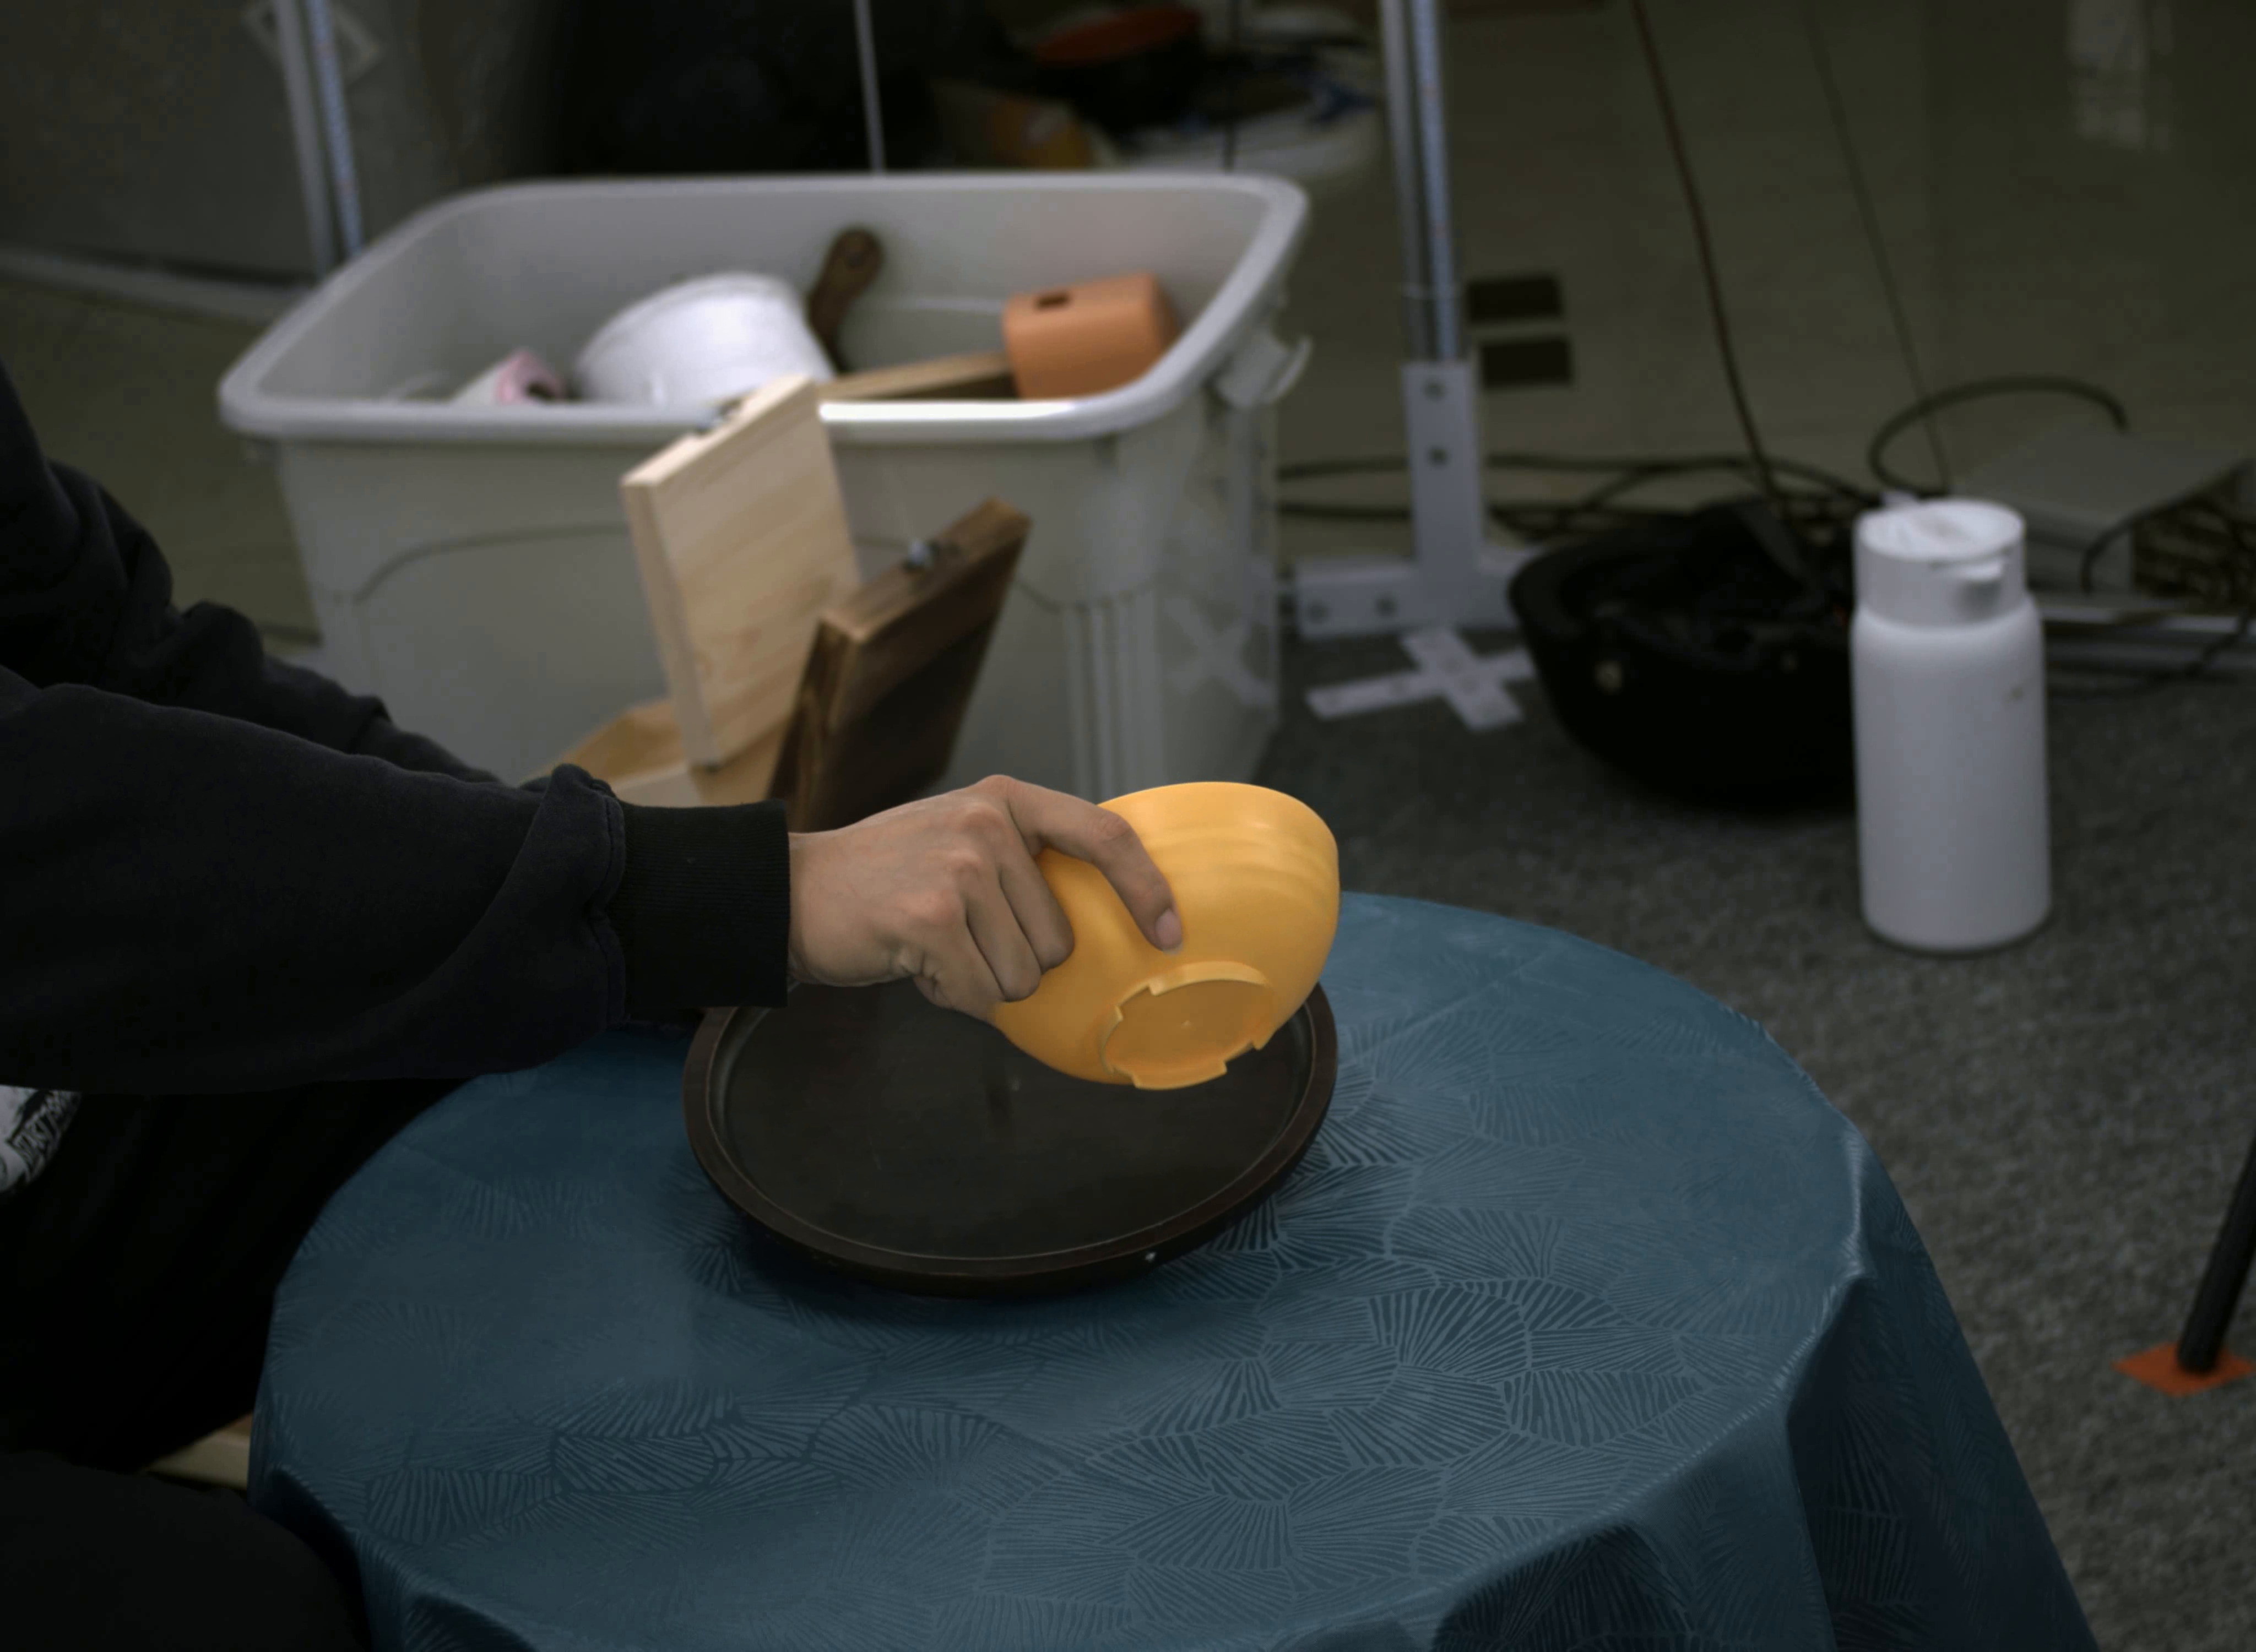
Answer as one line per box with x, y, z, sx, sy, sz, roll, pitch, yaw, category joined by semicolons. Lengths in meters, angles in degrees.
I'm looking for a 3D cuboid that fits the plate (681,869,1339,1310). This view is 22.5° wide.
-0.045;0.099;2.172;0.254;0.029;0.250;-4;38;3;plate

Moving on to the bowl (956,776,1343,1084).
0.015;0.050;2.036;0.145;0.148;0.059;-10;55;-9;bowl
